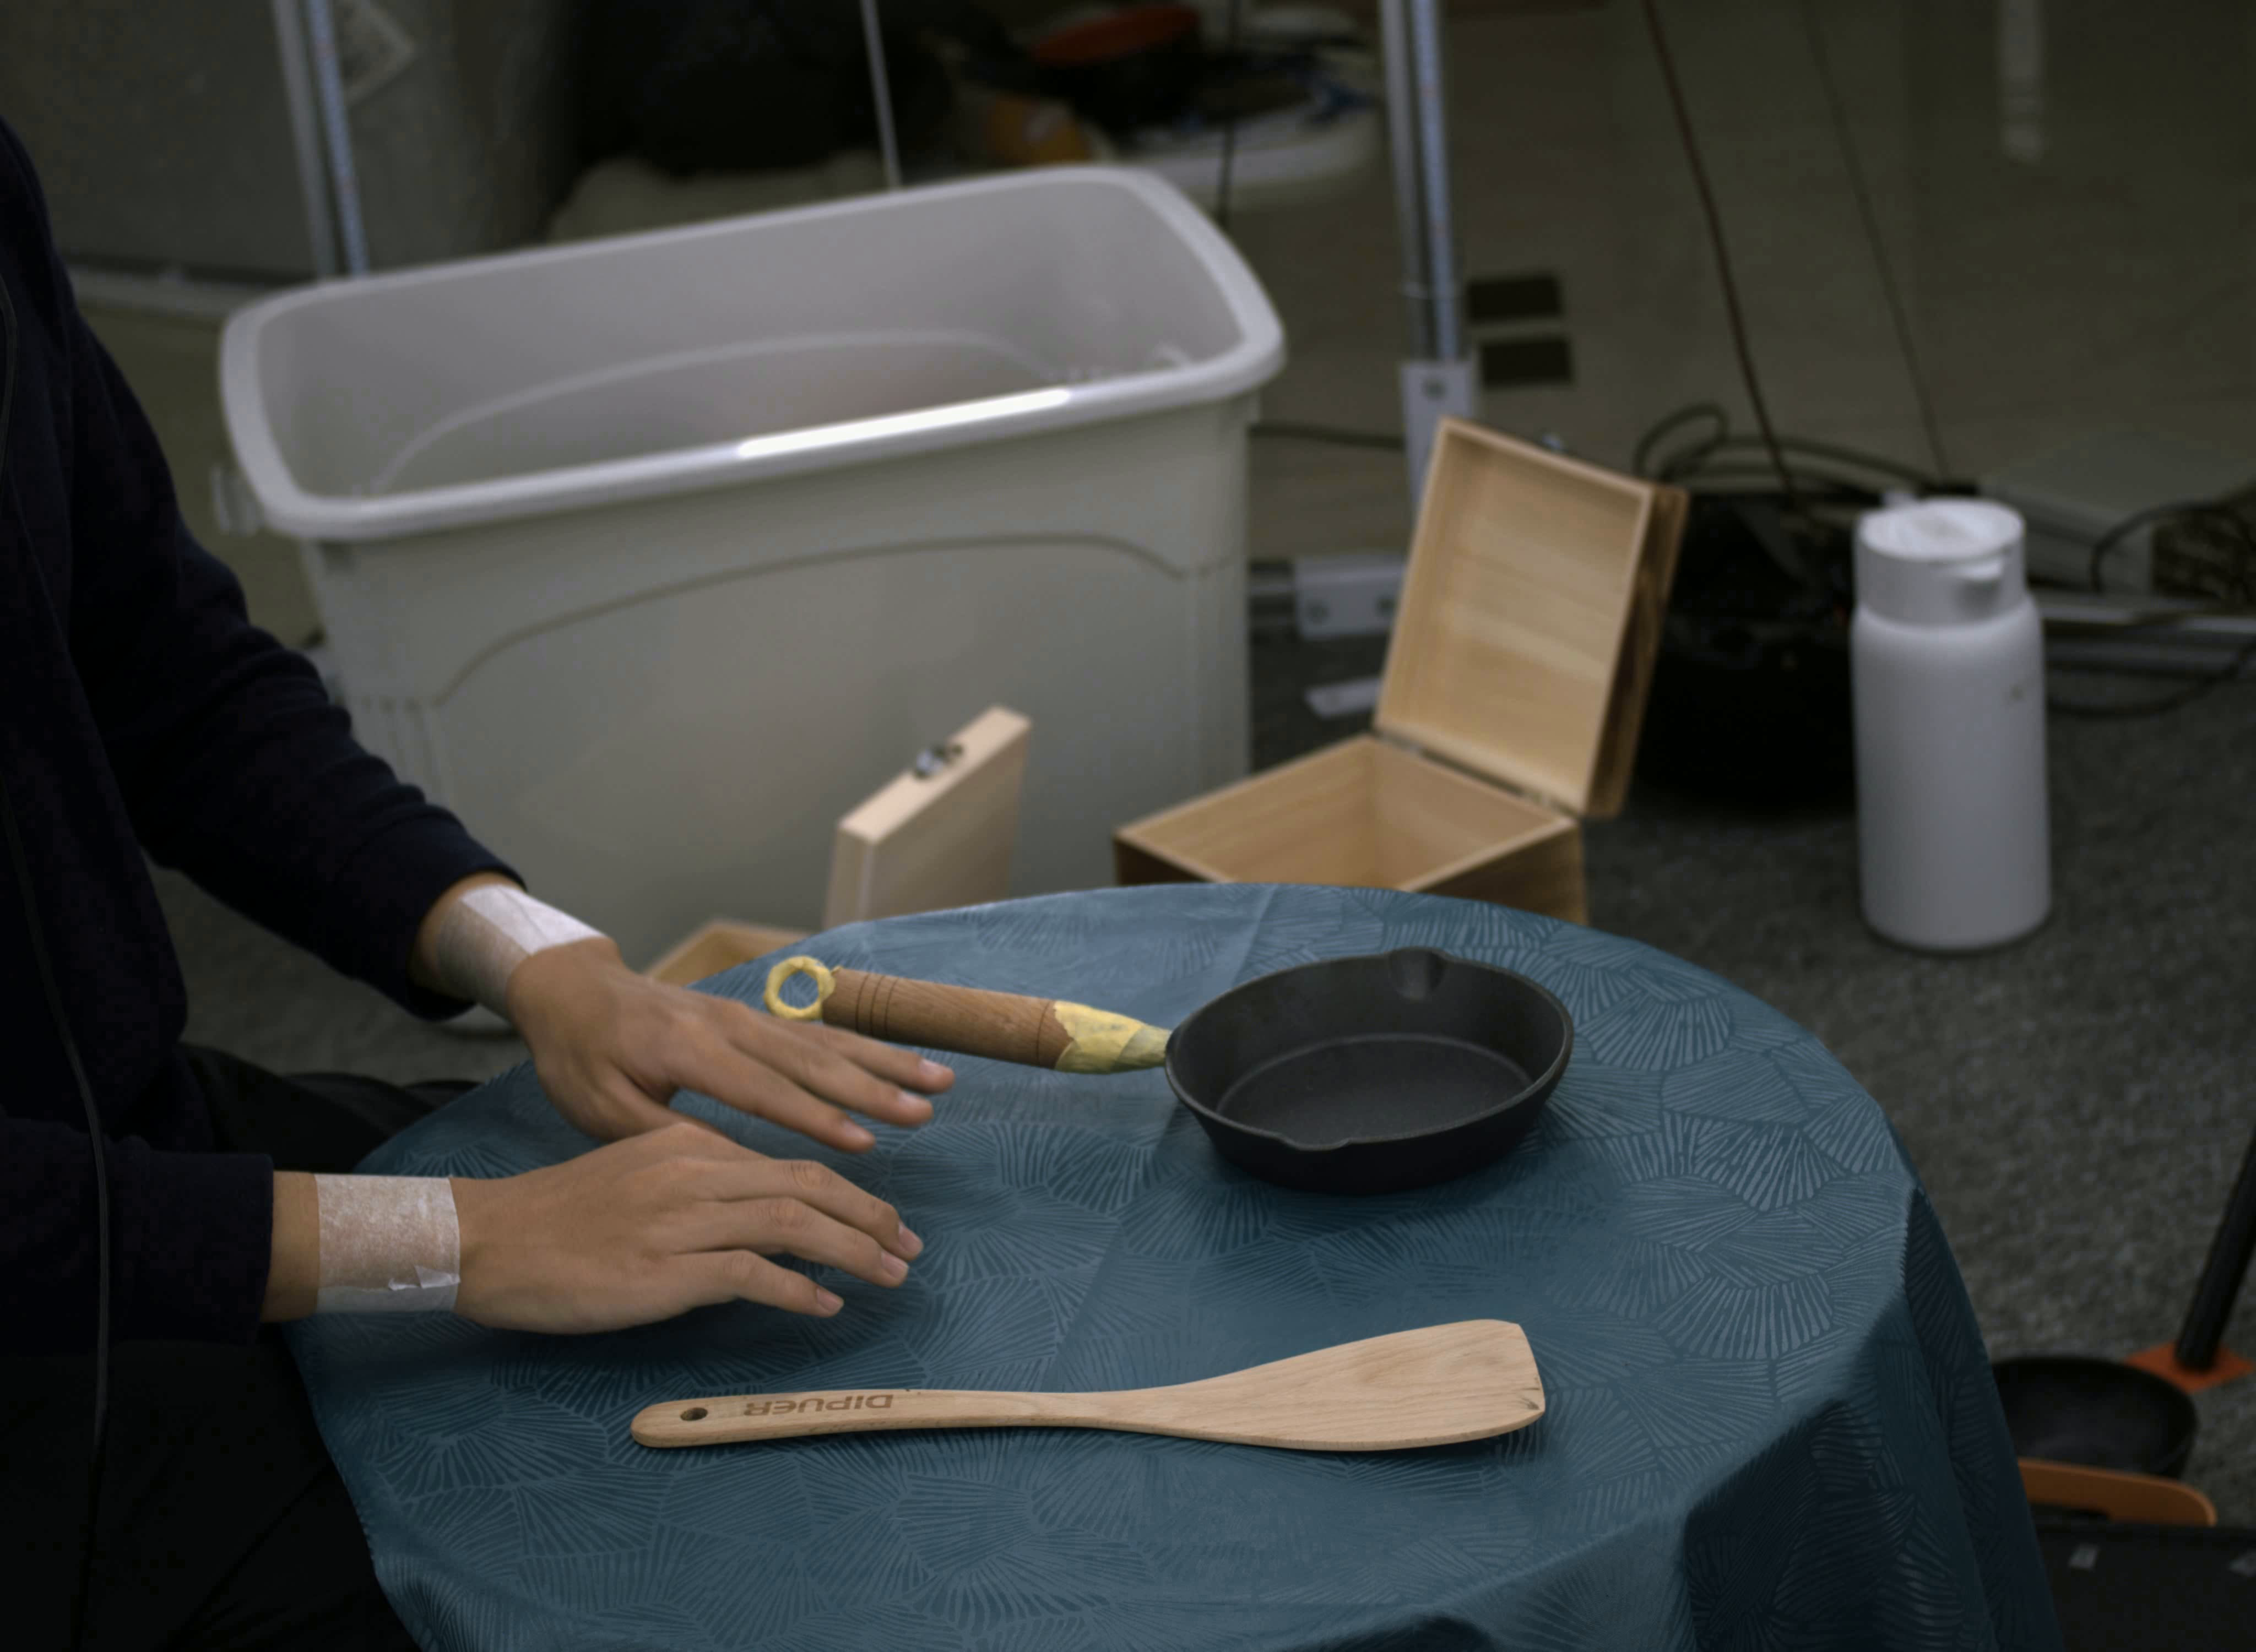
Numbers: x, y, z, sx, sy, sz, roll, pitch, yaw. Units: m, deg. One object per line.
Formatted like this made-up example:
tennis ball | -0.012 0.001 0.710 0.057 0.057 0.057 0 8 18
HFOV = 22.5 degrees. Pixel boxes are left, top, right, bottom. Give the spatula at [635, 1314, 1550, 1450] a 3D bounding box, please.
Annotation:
spatula | -0.013 0.201 1.999 0.327 0.017 0.079 -3 24 7

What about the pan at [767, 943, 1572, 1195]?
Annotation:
pan | 0.013 0.085 2.197 0.323 0.050 0.166 4 27 19
